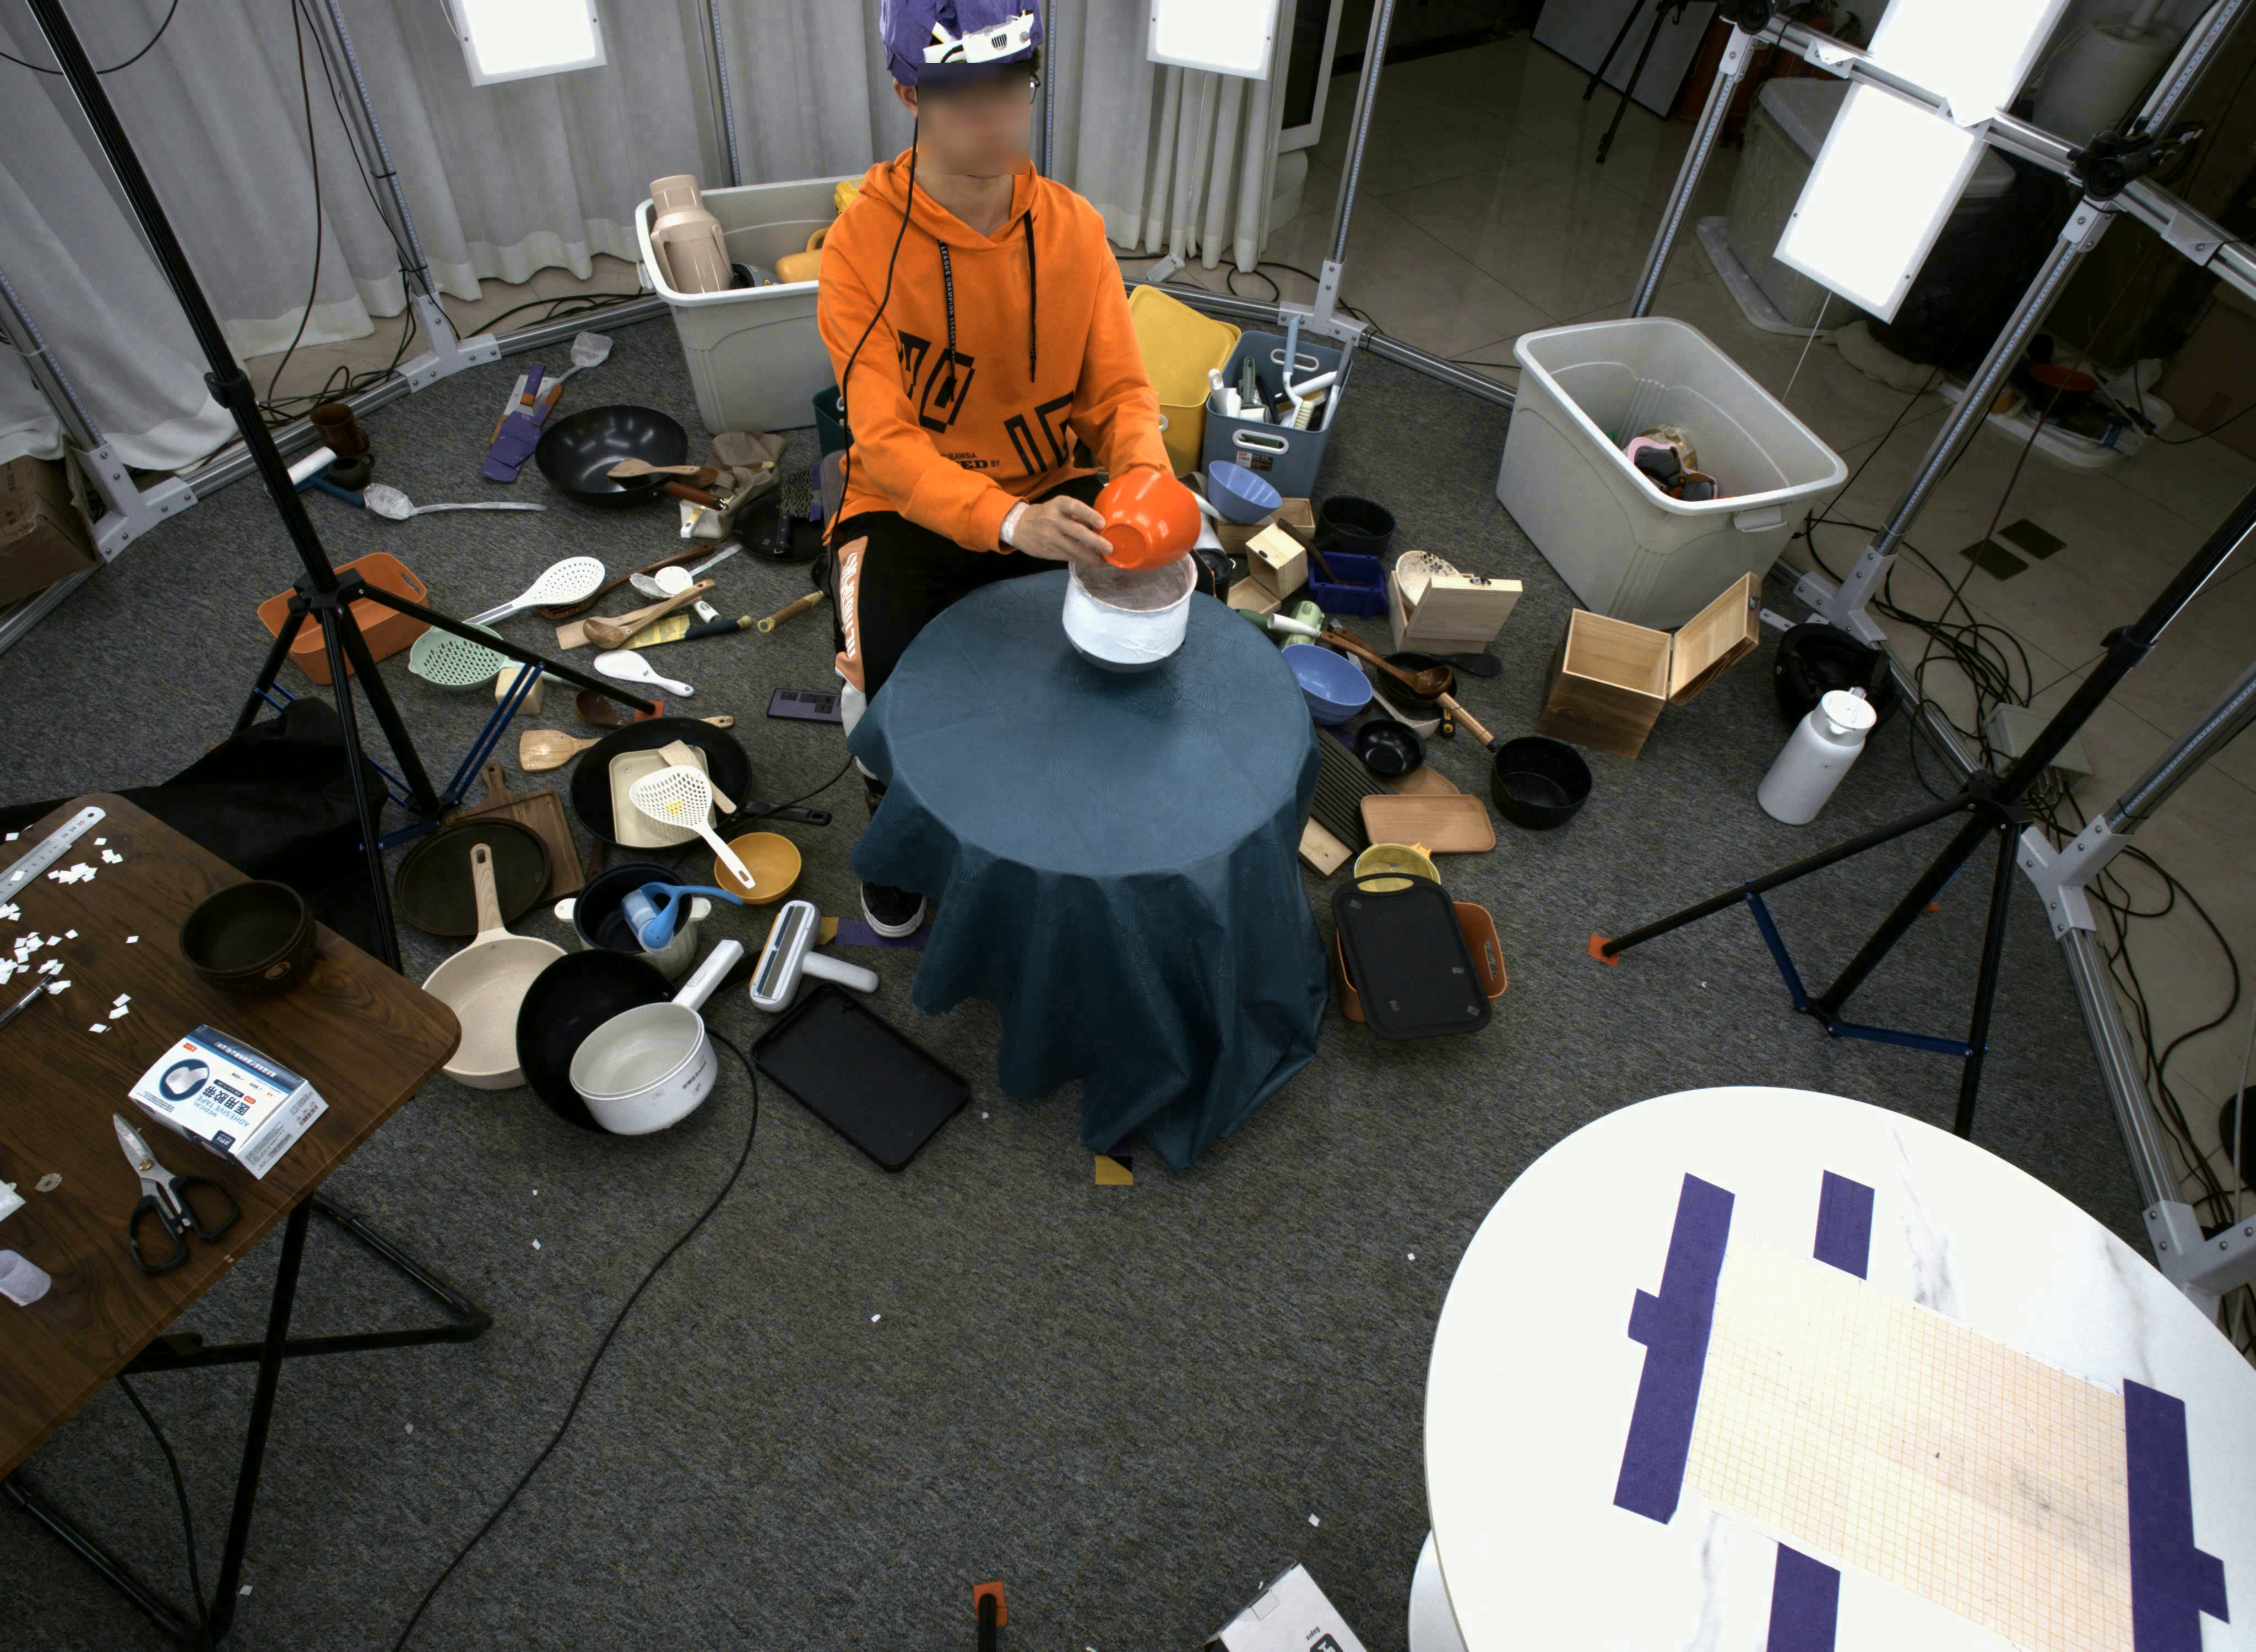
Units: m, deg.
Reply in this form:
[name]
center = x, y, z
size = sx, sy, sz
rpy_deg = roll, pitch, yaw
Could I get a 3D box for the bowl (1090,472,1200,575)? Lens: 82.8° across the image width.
[bowl]
center = 0.015, -0.386, 1.712
size = 0.148, 0.144, 0.107
rpy_deg = 14, 39, 7

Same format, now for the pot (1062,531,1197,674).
[pot]
center = 0.002, -0.334, 1.816
size = 0.178, 0.133, 0.239
rpy_deg = 10, 50, -1
